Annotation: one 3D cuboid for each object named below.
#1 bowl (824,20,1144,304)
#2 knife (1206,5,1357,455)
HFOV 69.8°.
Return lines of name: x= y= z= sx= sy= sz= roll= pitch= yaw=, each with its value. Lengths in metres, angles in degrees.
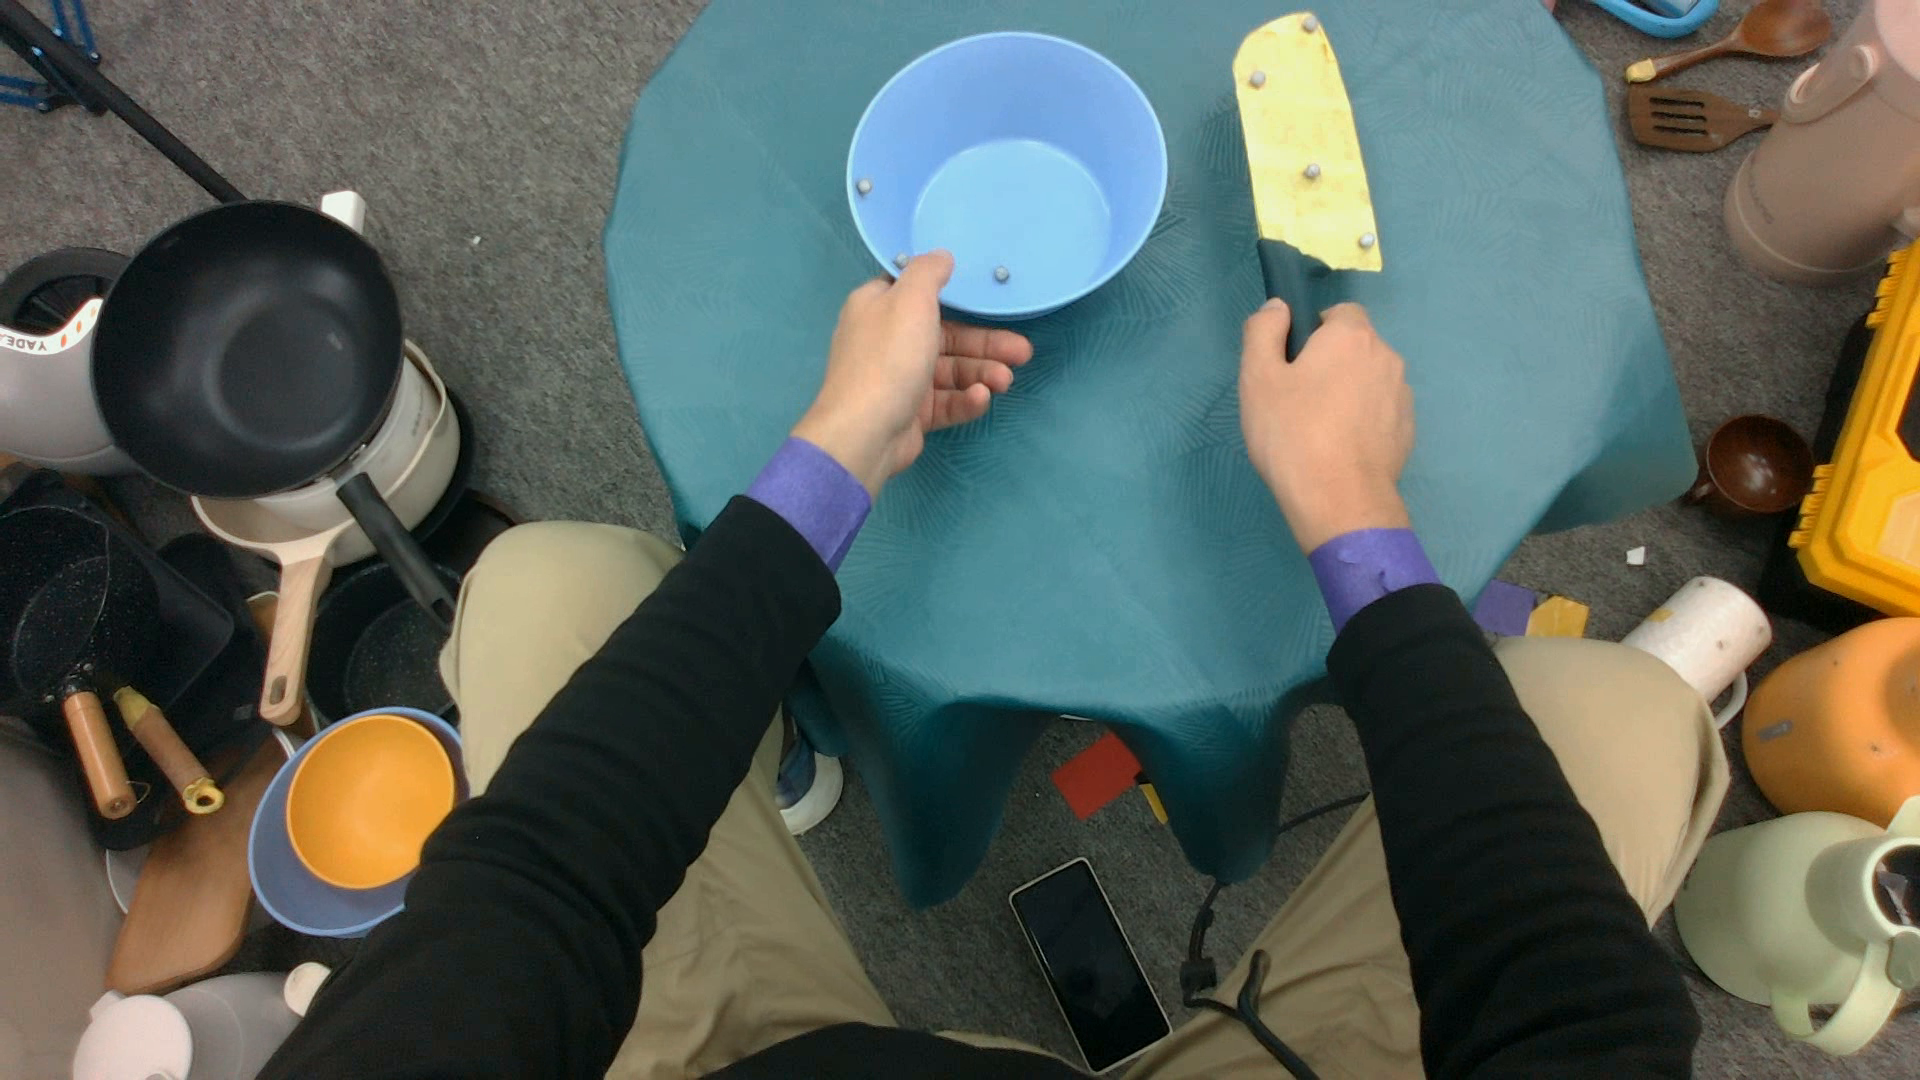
bowl: x=0.015 y=-0.202 z=0.784 sx=0.176 sy=0.070 sz=0.176 roll=-1 pitch=71 yaw=3
knife: x=0.181 y=-0.180 z=0.763 sx=0.081 sy=0.027 sz=0.290 roll=3 pitch=69 yaw=-11
